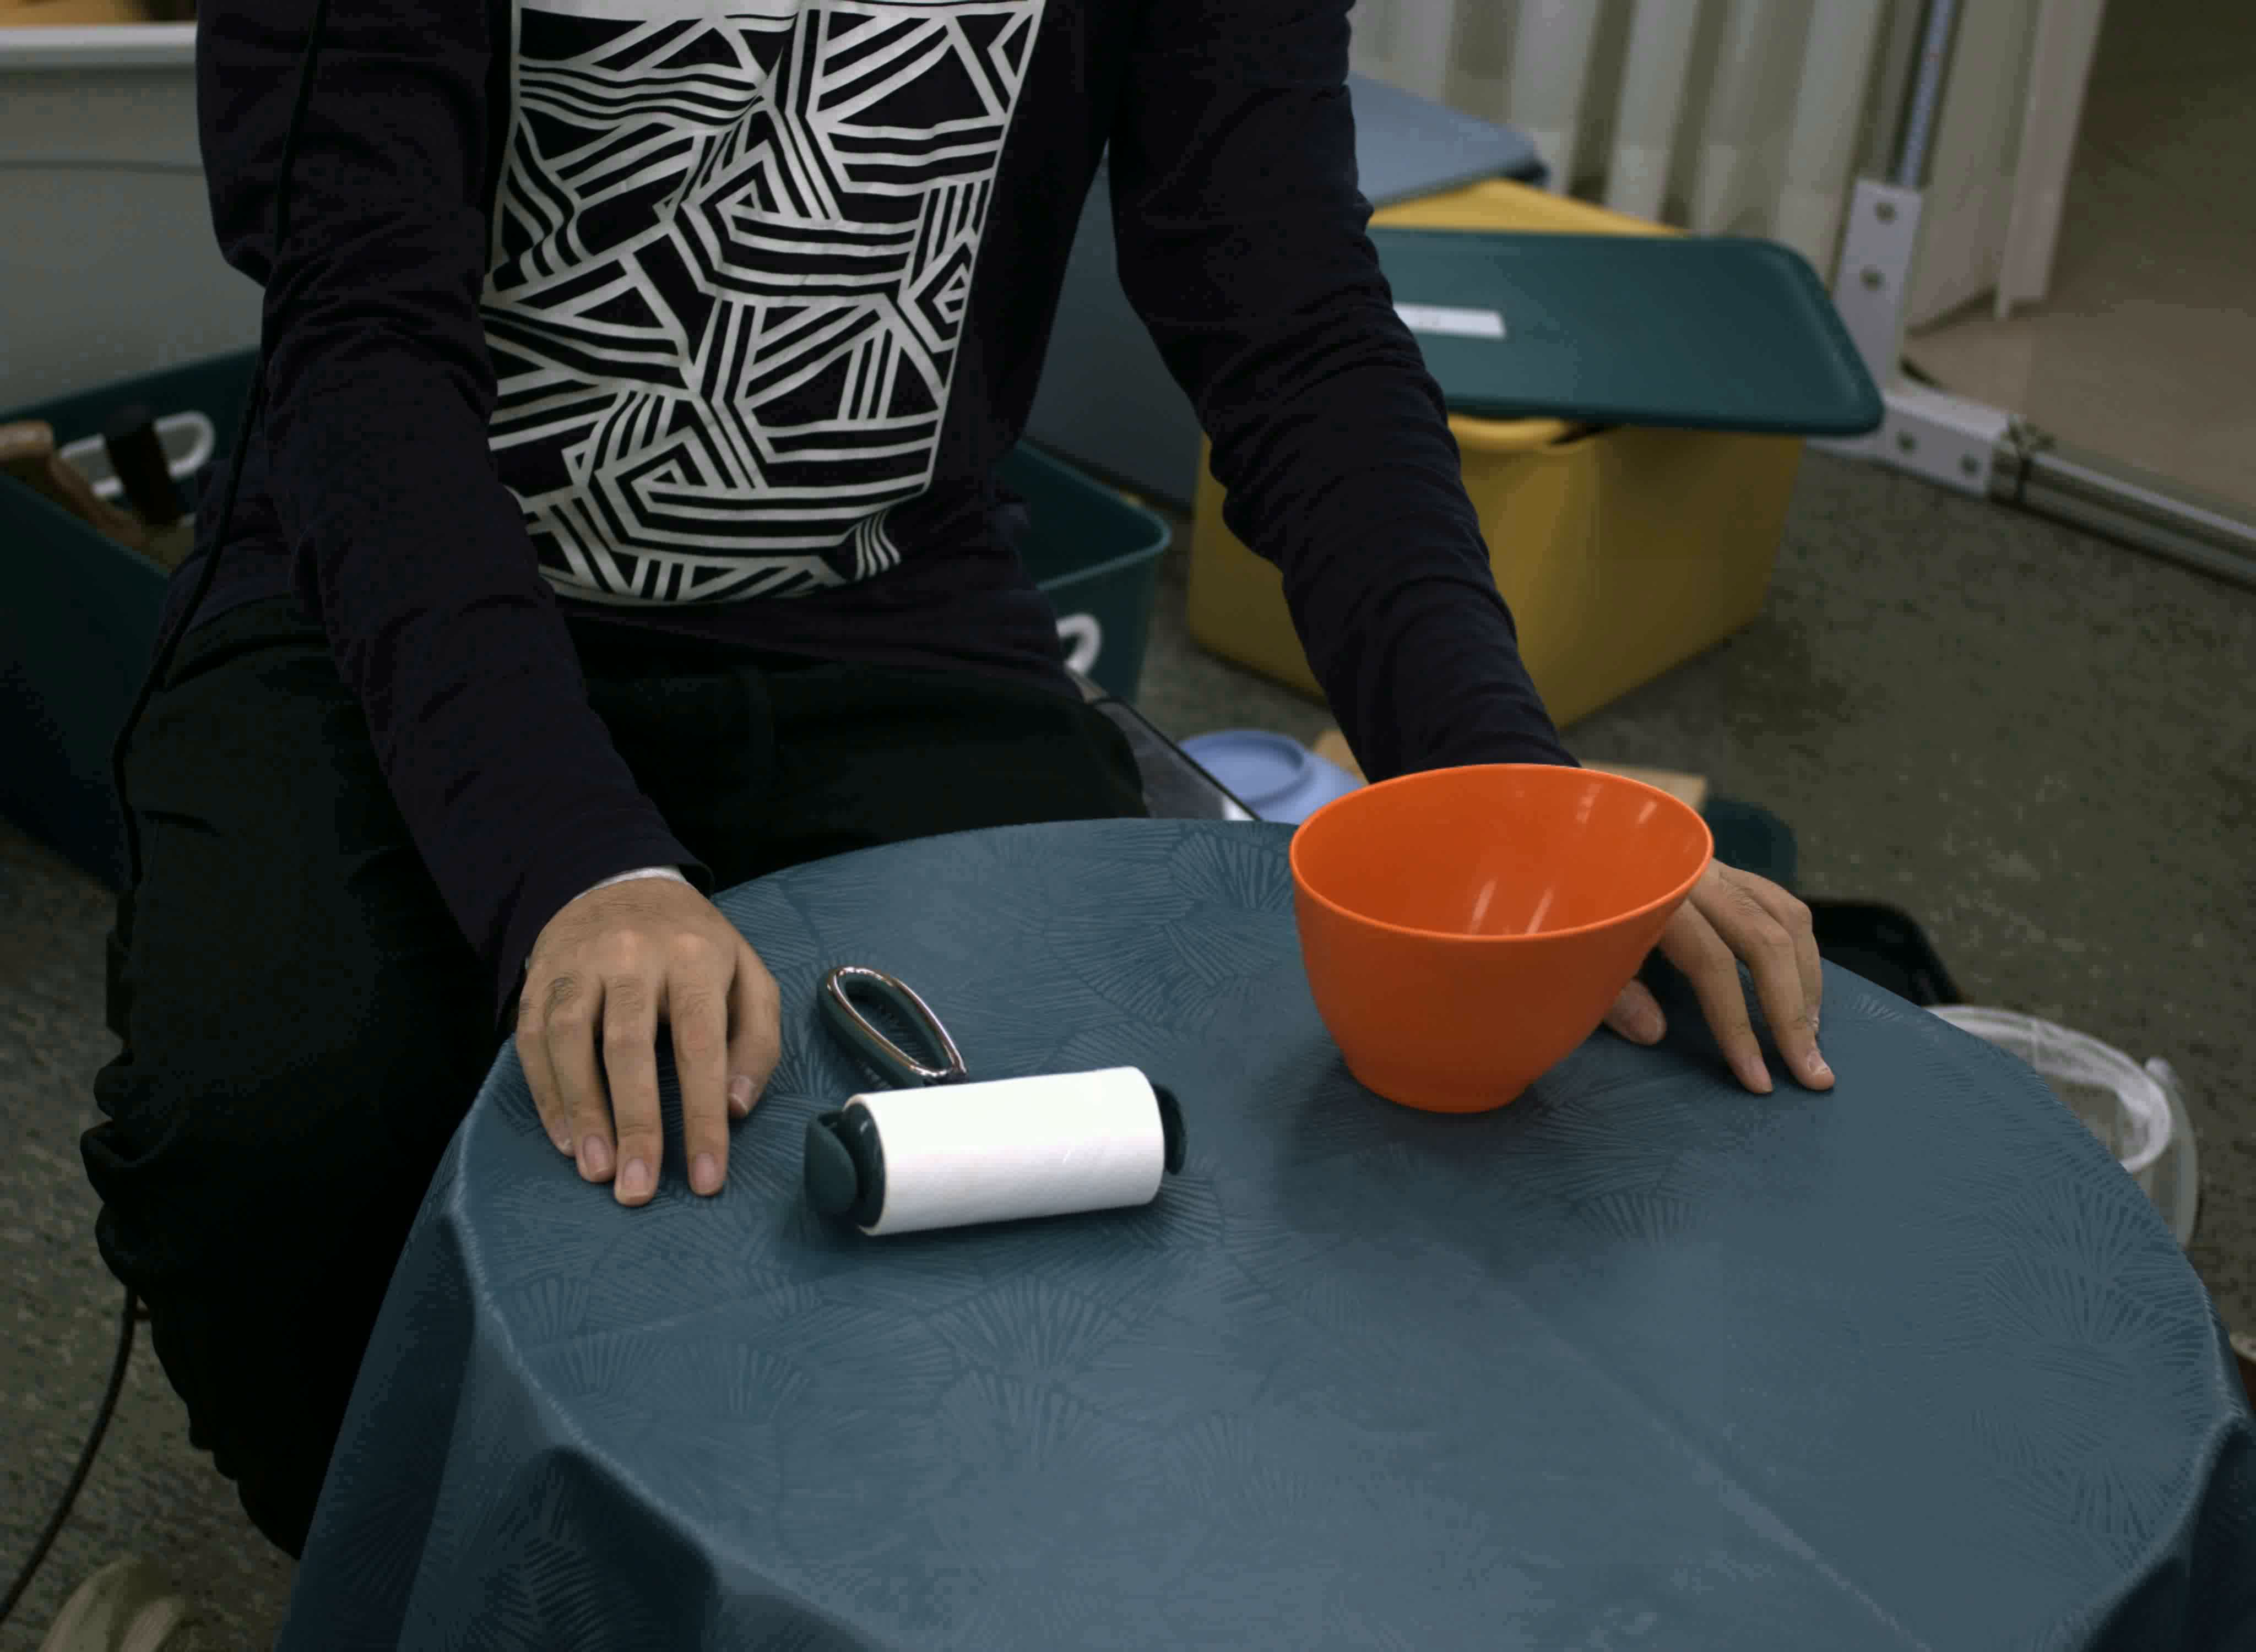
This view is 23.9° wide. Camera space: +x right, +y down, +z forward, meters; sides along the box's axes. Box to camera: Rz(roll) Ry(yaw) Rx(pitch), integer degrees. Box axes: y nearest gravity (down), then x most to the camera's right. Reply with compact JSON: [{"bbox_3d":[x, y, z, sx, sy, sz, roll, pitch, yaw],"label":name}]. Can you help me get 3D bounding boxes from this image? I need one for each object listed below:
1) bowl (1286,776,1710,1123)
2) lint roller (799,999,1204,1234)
[{"bbox_3d":[0.125,0.047,1.879,0.147,0.104,0.149,4,24,-2],"label":"bowl"},{"bbox_3d":[-0.069,0.081,1.831,0.133,0.048,0.181,-5,26,-22],"label":"lint roller"}]
